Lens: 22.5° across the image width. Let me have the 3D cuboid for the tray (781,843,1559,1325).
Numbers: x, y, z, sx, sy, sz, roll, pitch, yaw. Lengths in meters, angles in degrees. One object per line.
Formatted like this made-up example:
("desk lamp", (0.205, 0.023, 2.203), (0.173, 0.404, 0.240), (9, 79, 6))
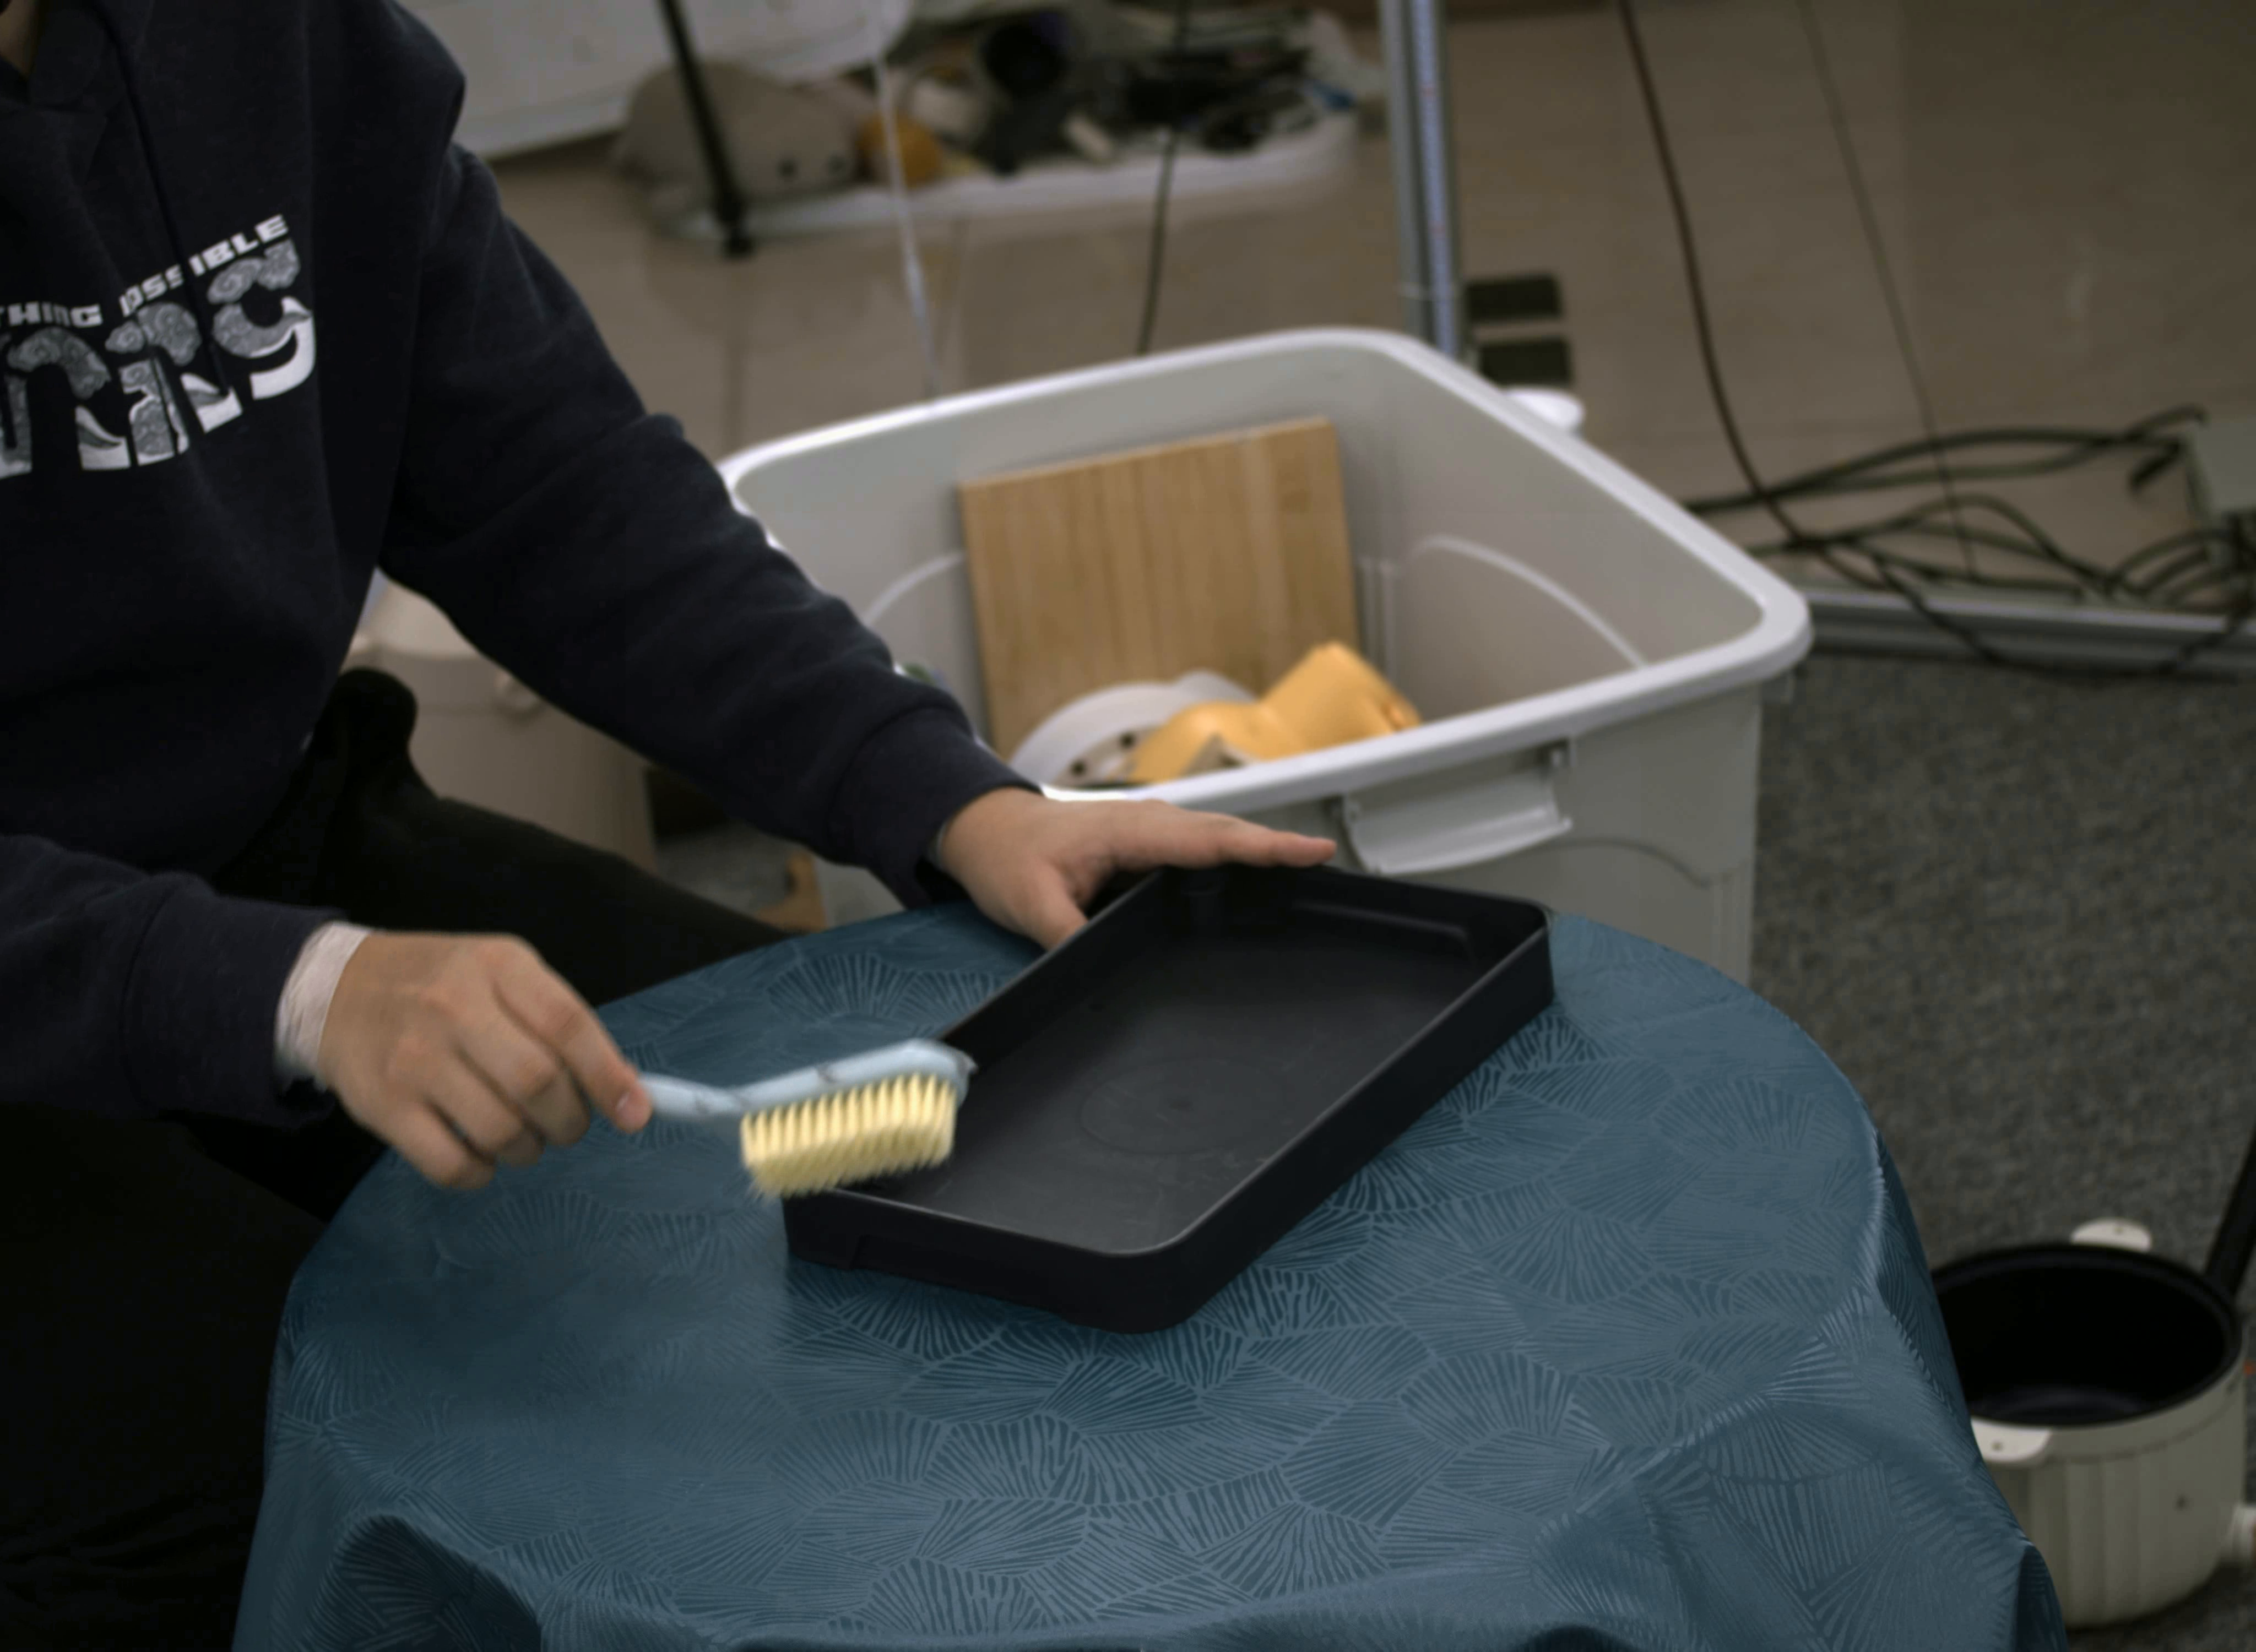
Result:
("tray", (0.023, 0.094, 2.198), (0.183, 0.037, 0.314), (9, 29, 31))

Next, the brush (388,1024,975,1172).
("brush", (-0.163, 0.100, 2.033), (0.228, 0.038, 0.049), (-3, 64, 21))
